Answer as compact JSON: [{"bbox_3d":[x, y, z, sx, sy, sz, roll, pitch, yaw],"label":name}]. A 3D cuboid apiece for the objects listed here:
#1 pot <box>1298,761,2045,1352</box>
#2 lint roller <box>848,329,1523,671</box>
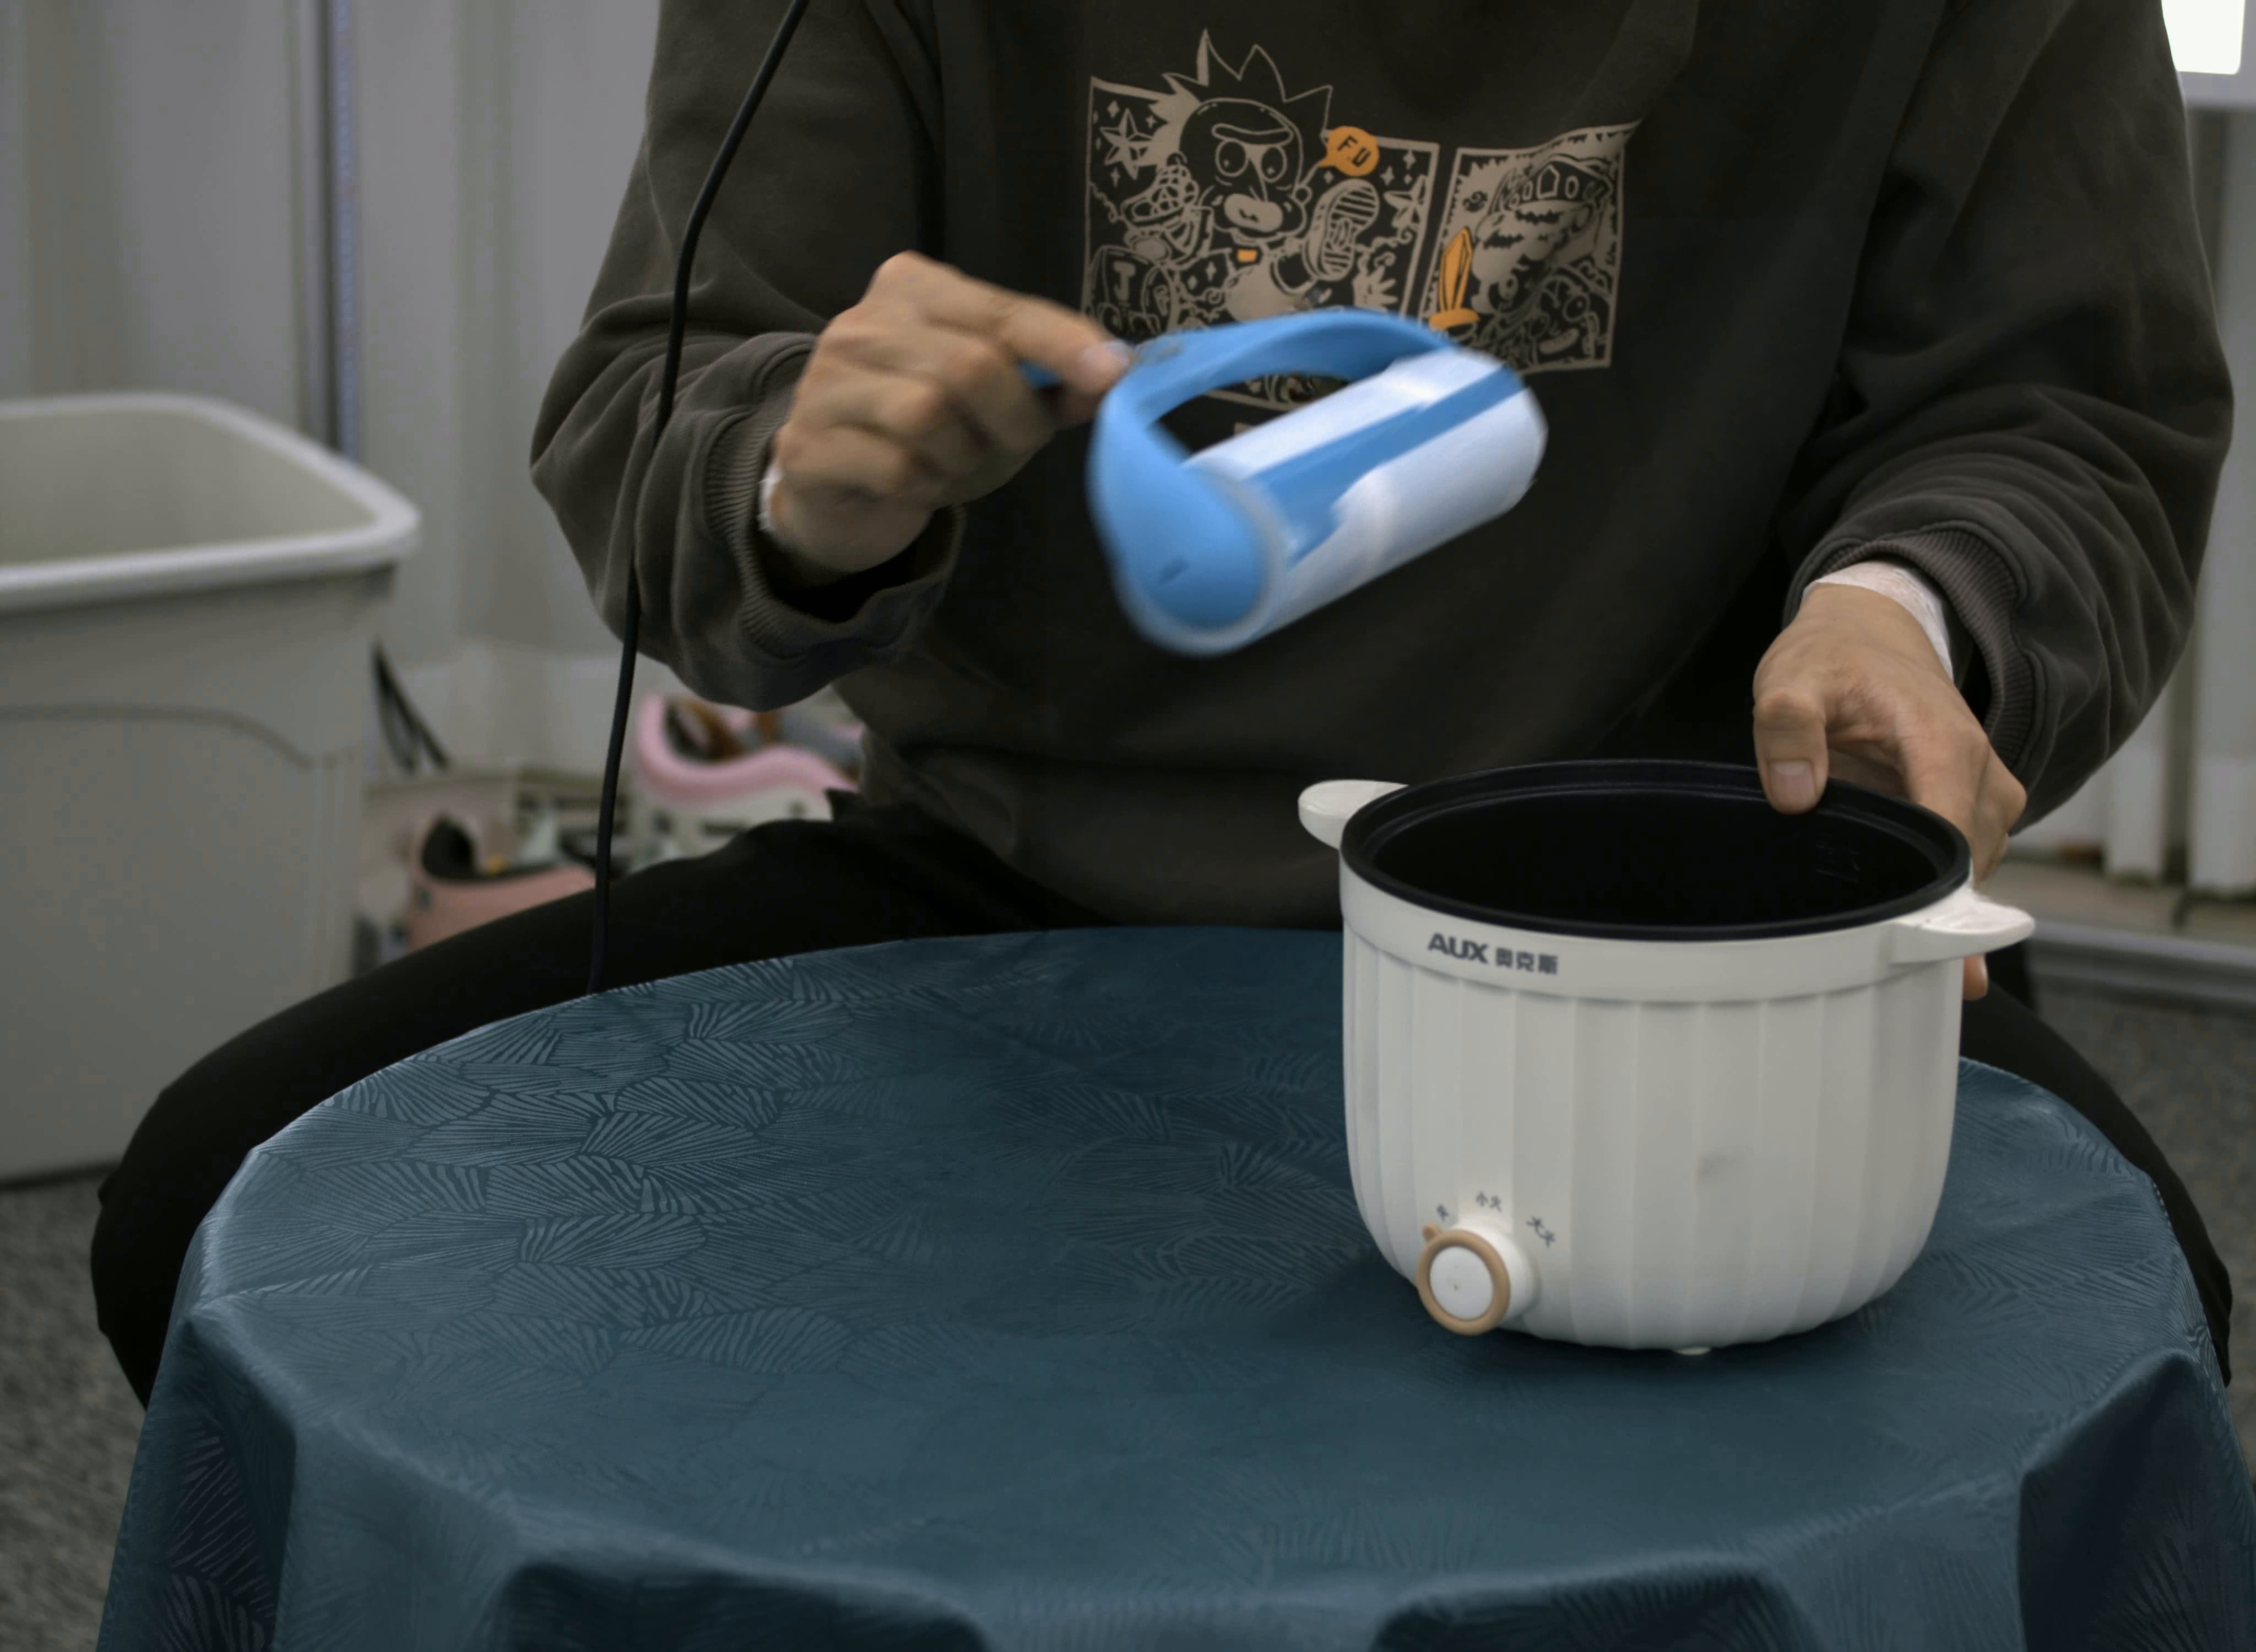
[{"bbox_3d":[0.150,0.069,1.532,0.237,0.143,0.191,9,15,33],"label":"pot"},{"bbox_3d":[0.001,-0.106,1.533,0.178,0.068,0.229,15,21,19],"label":"lint roller"}]
